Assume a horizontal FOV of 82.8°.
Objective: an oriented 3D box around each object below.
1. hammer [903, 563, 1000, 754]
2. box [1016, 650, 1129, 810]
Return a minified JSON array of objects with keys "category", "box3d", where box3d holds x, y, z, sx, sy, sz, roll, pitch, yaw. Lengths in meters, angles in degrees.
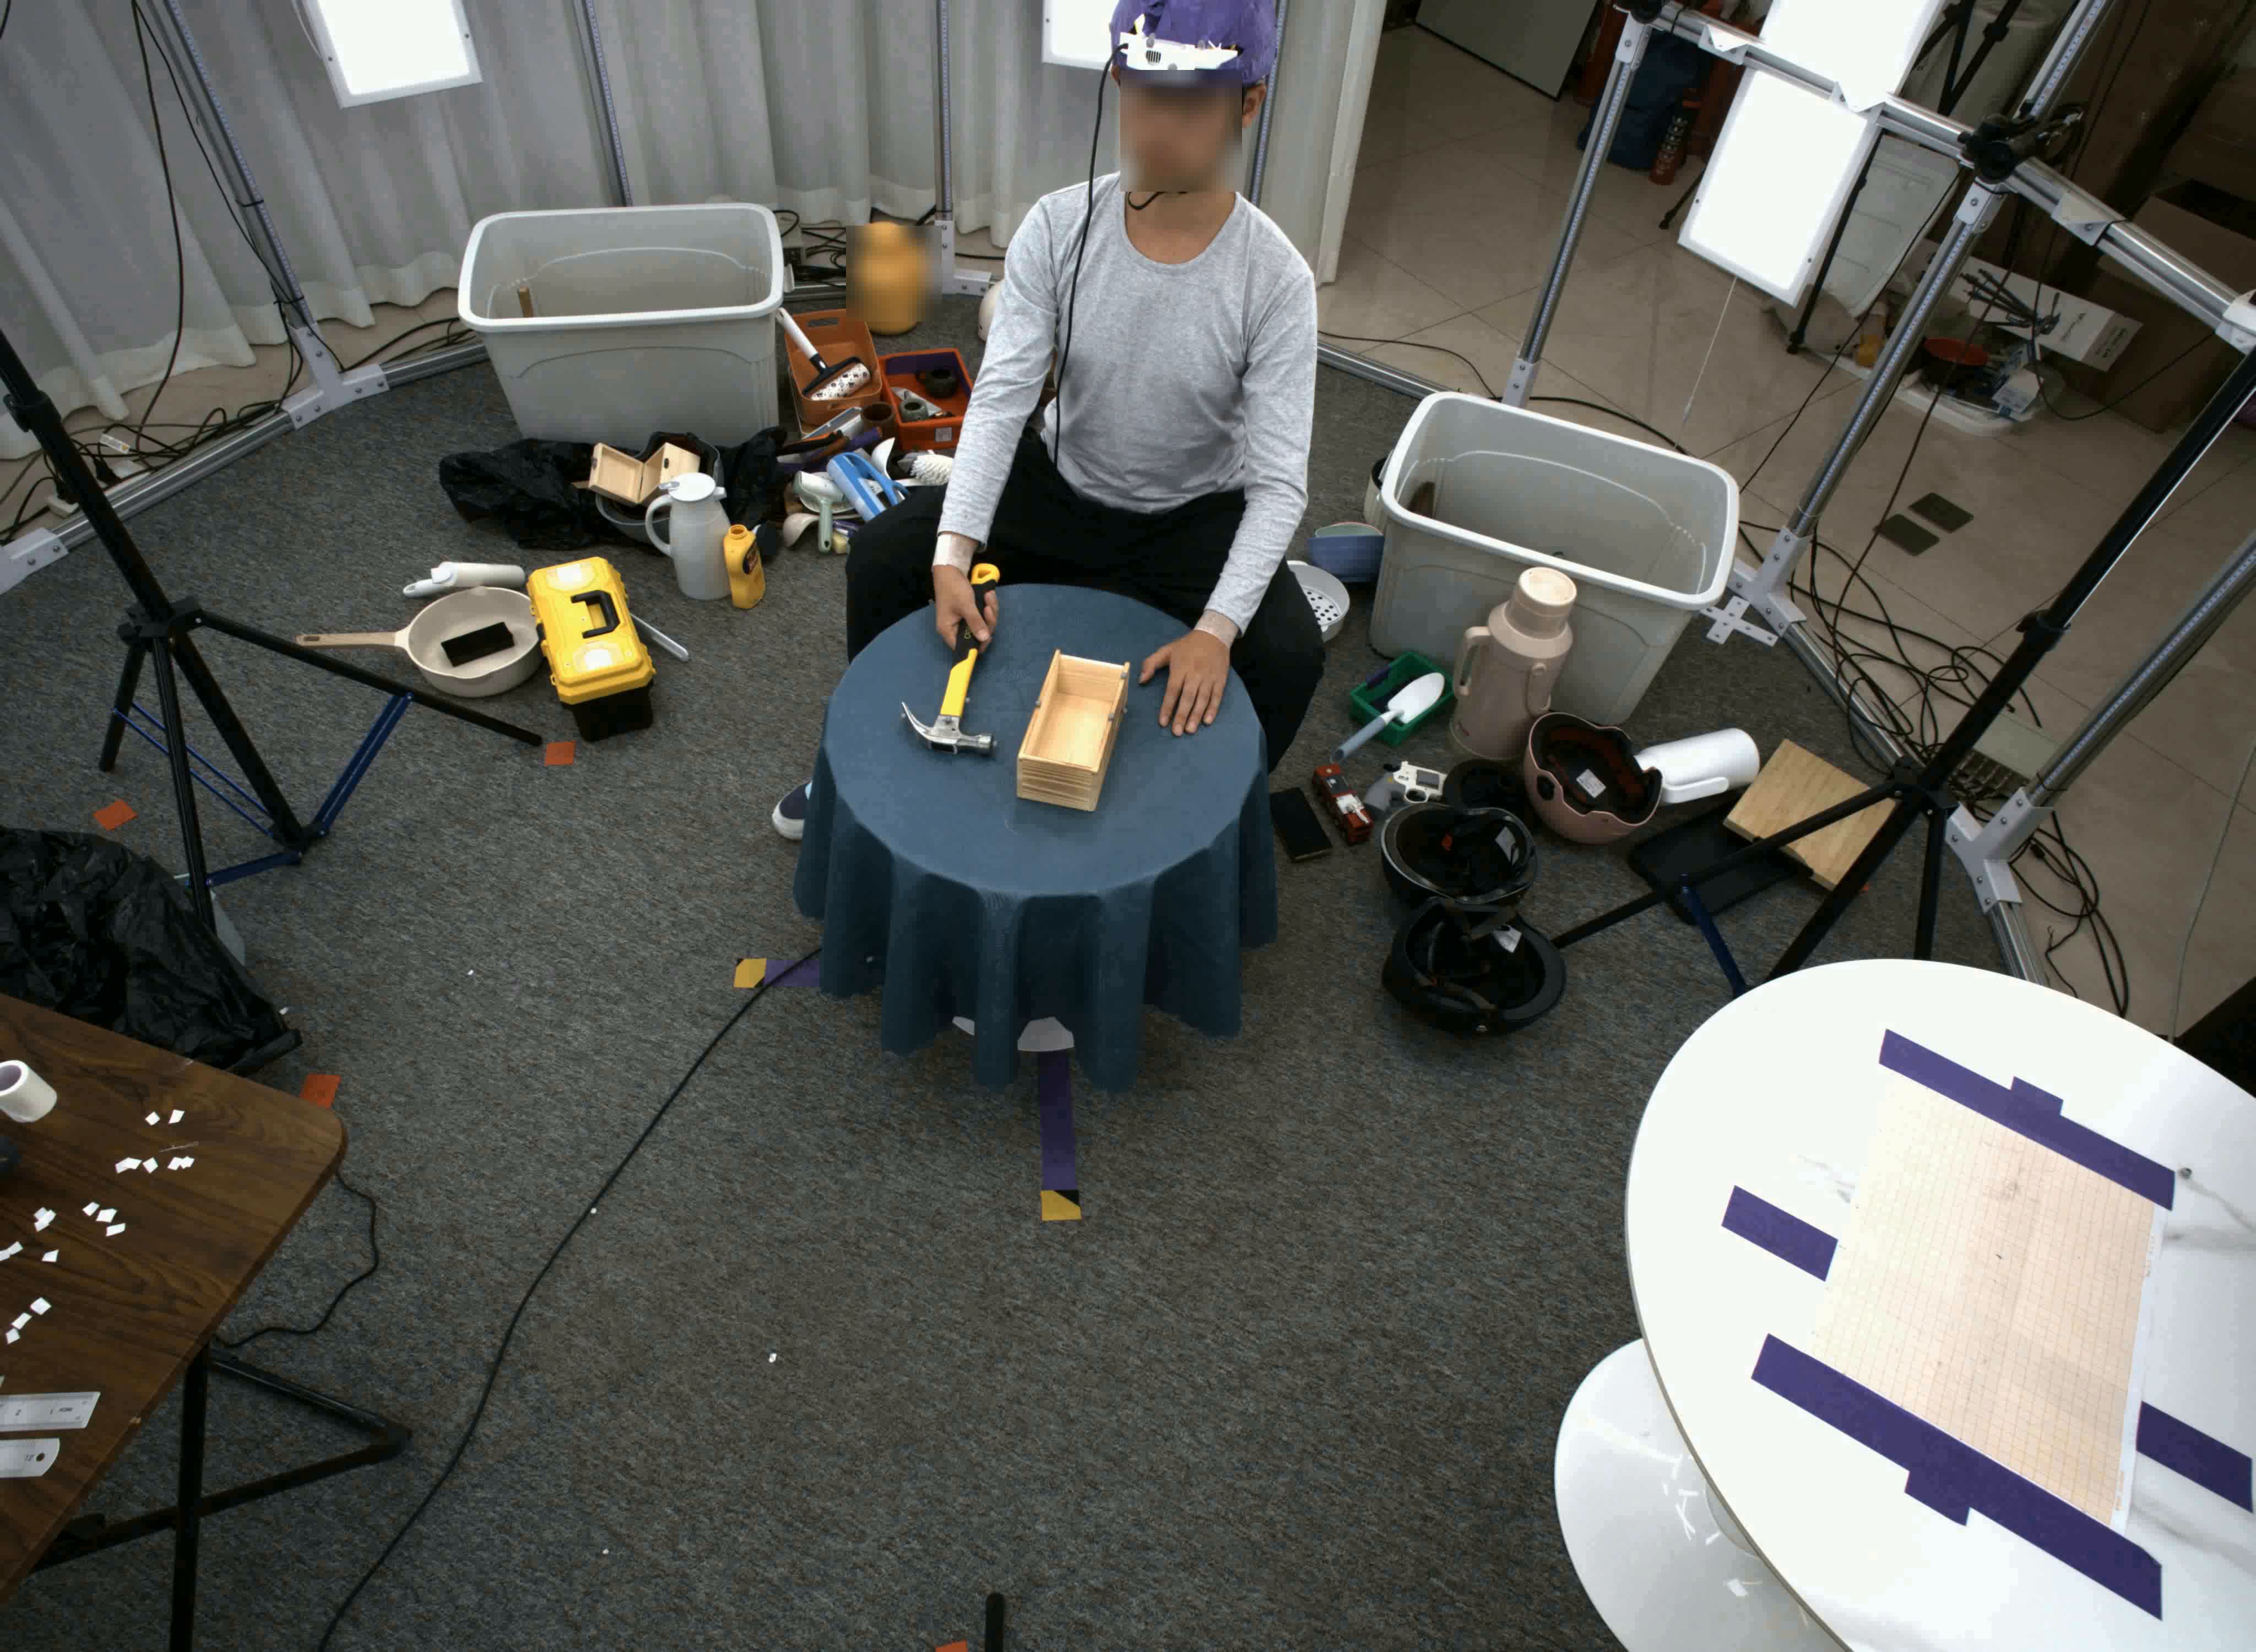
[{"category":"hammer","box3d":[-0.230,-0.247,1.834,0.131,0.031,0.346,6,55,3]},{"category":"box","box3d":[-0.073,-0.133,1.736,0.107,0.078,0.216,10,49,5]}]
